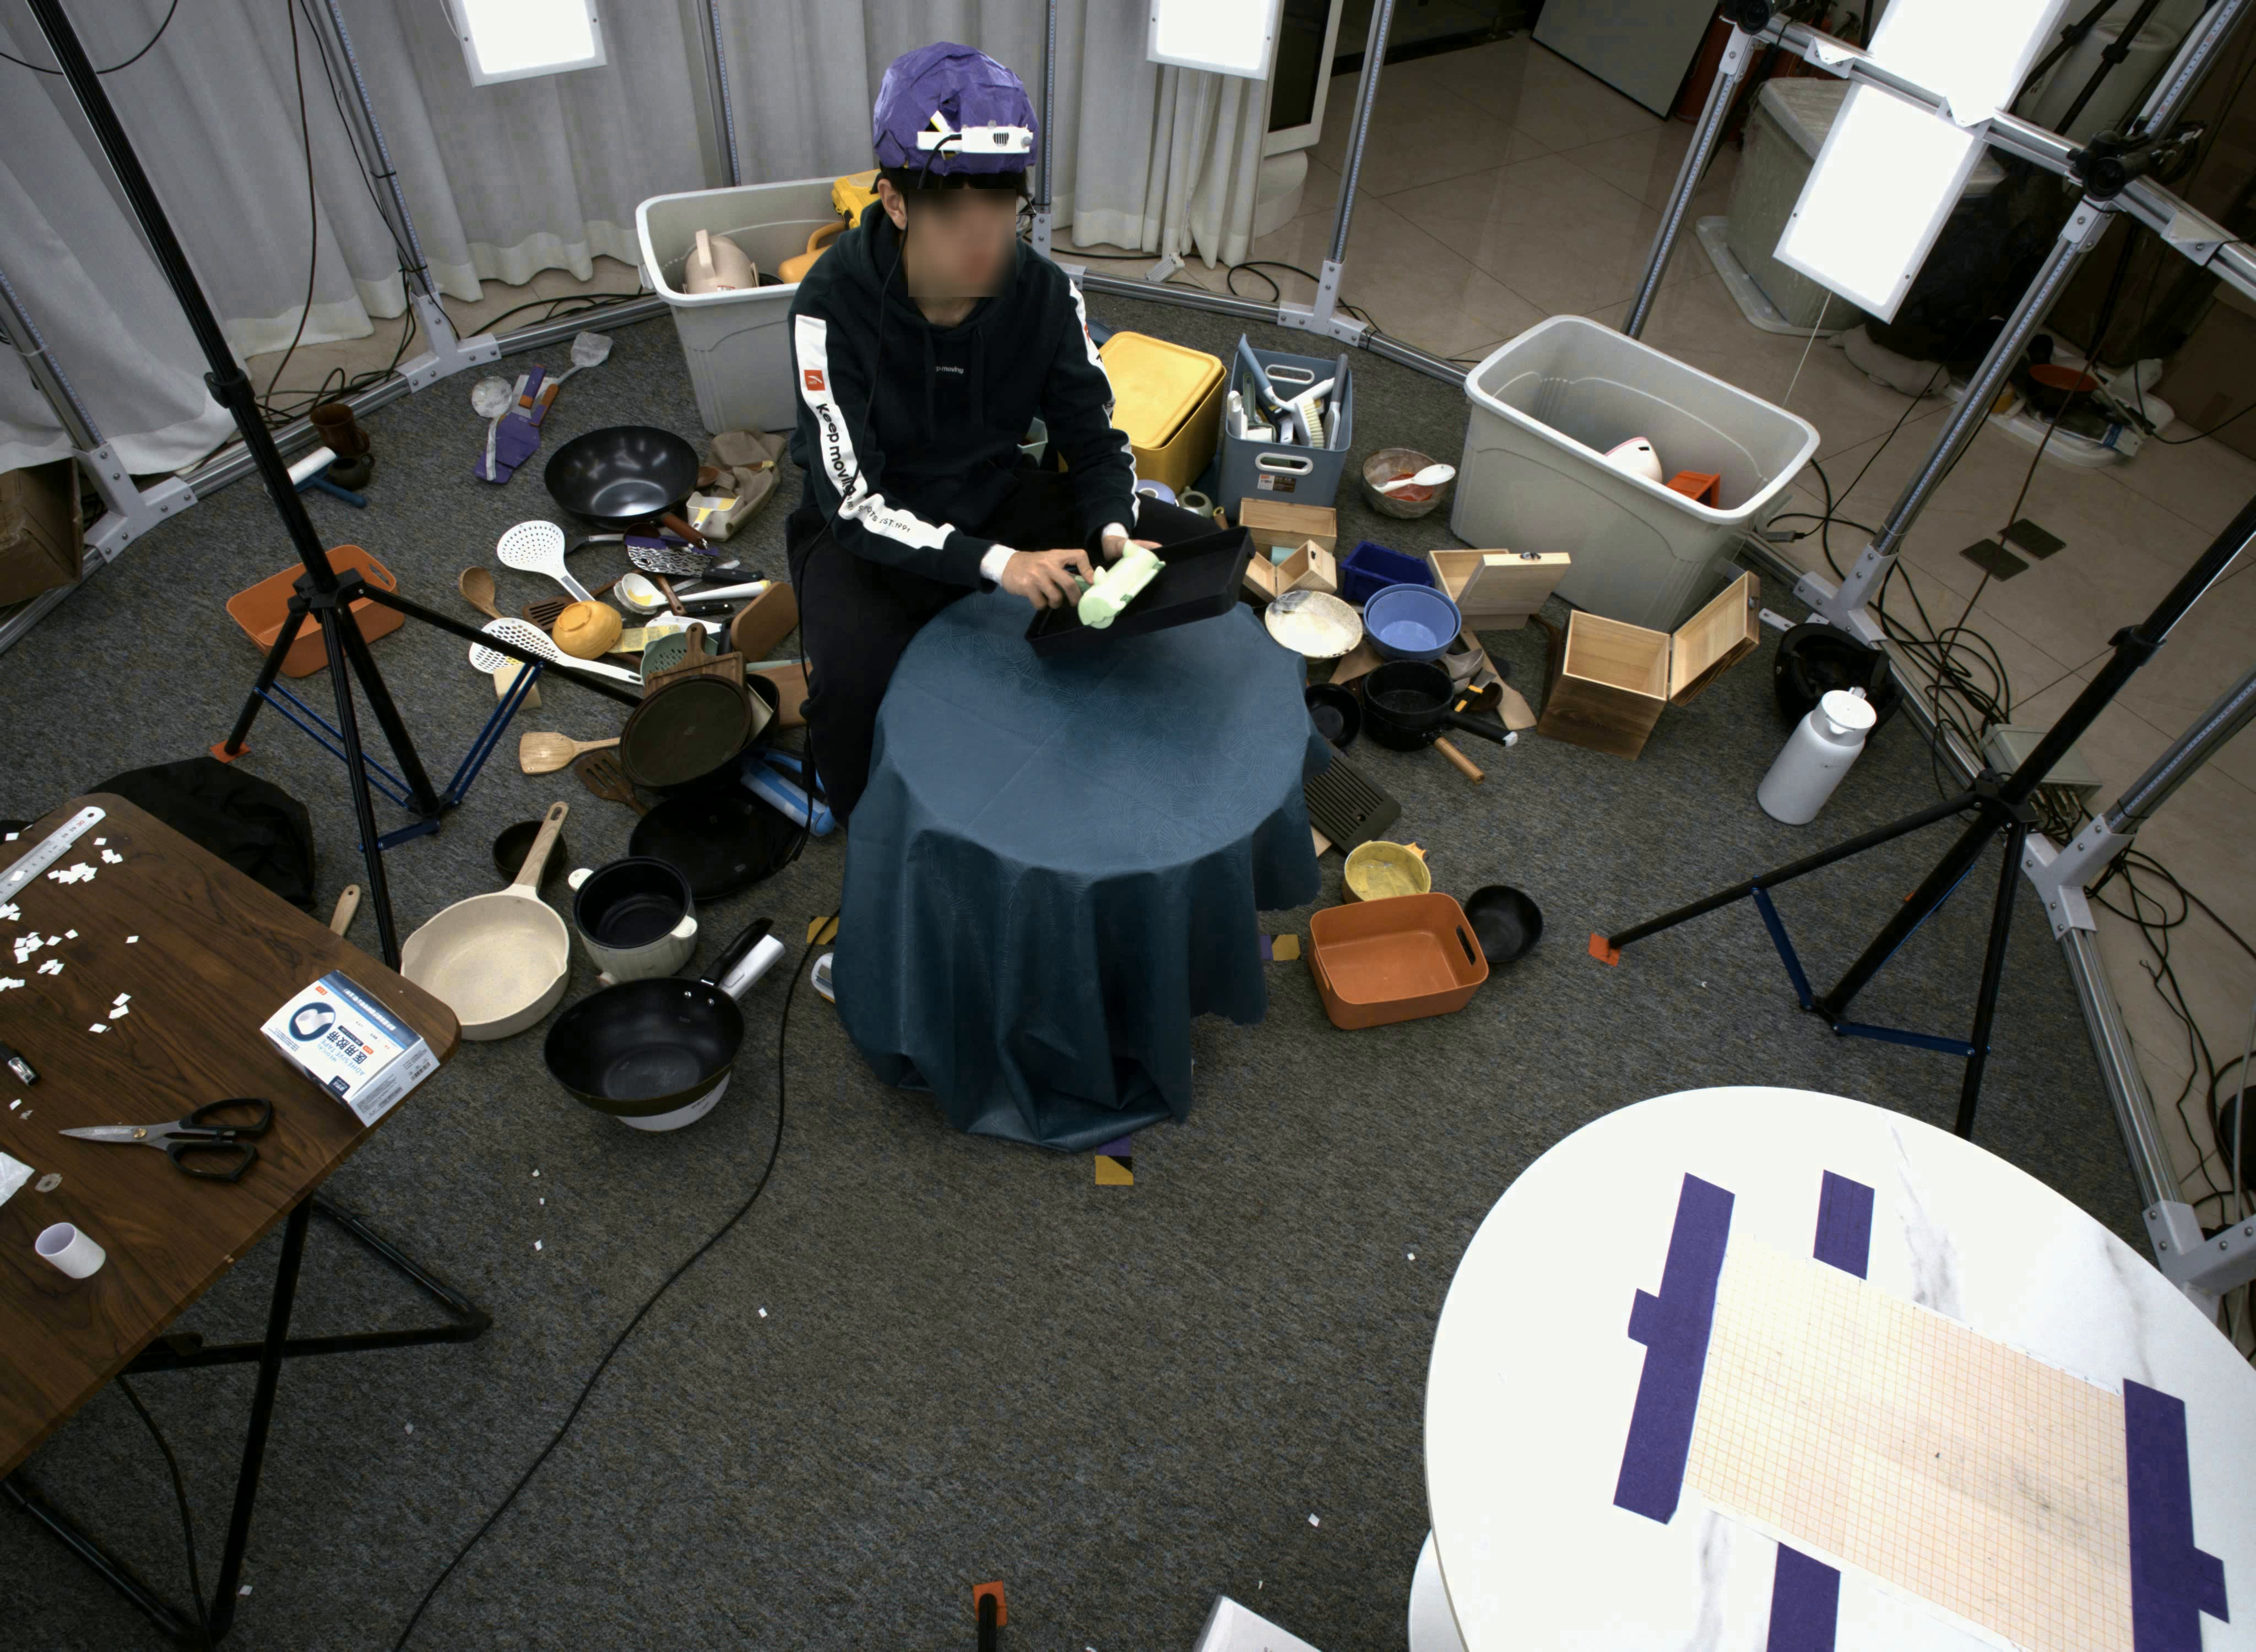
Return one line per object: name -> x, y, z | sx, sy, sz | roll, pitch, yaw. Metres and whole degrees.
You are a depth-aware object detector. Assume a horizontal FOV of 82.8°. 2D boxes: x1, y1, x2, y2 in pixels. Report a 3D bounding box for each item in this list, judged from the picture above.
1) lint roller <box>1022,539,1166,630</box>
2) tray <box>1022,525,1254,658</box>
lint roller -> -0.062, -0.346, 1.781 | 0.184, 0.080, 0.202 | 13, 33, 17
tray -> 0.015, -0.329, 1.810 | 0.318, 0.036, 0.188 | -9, 37, 27
